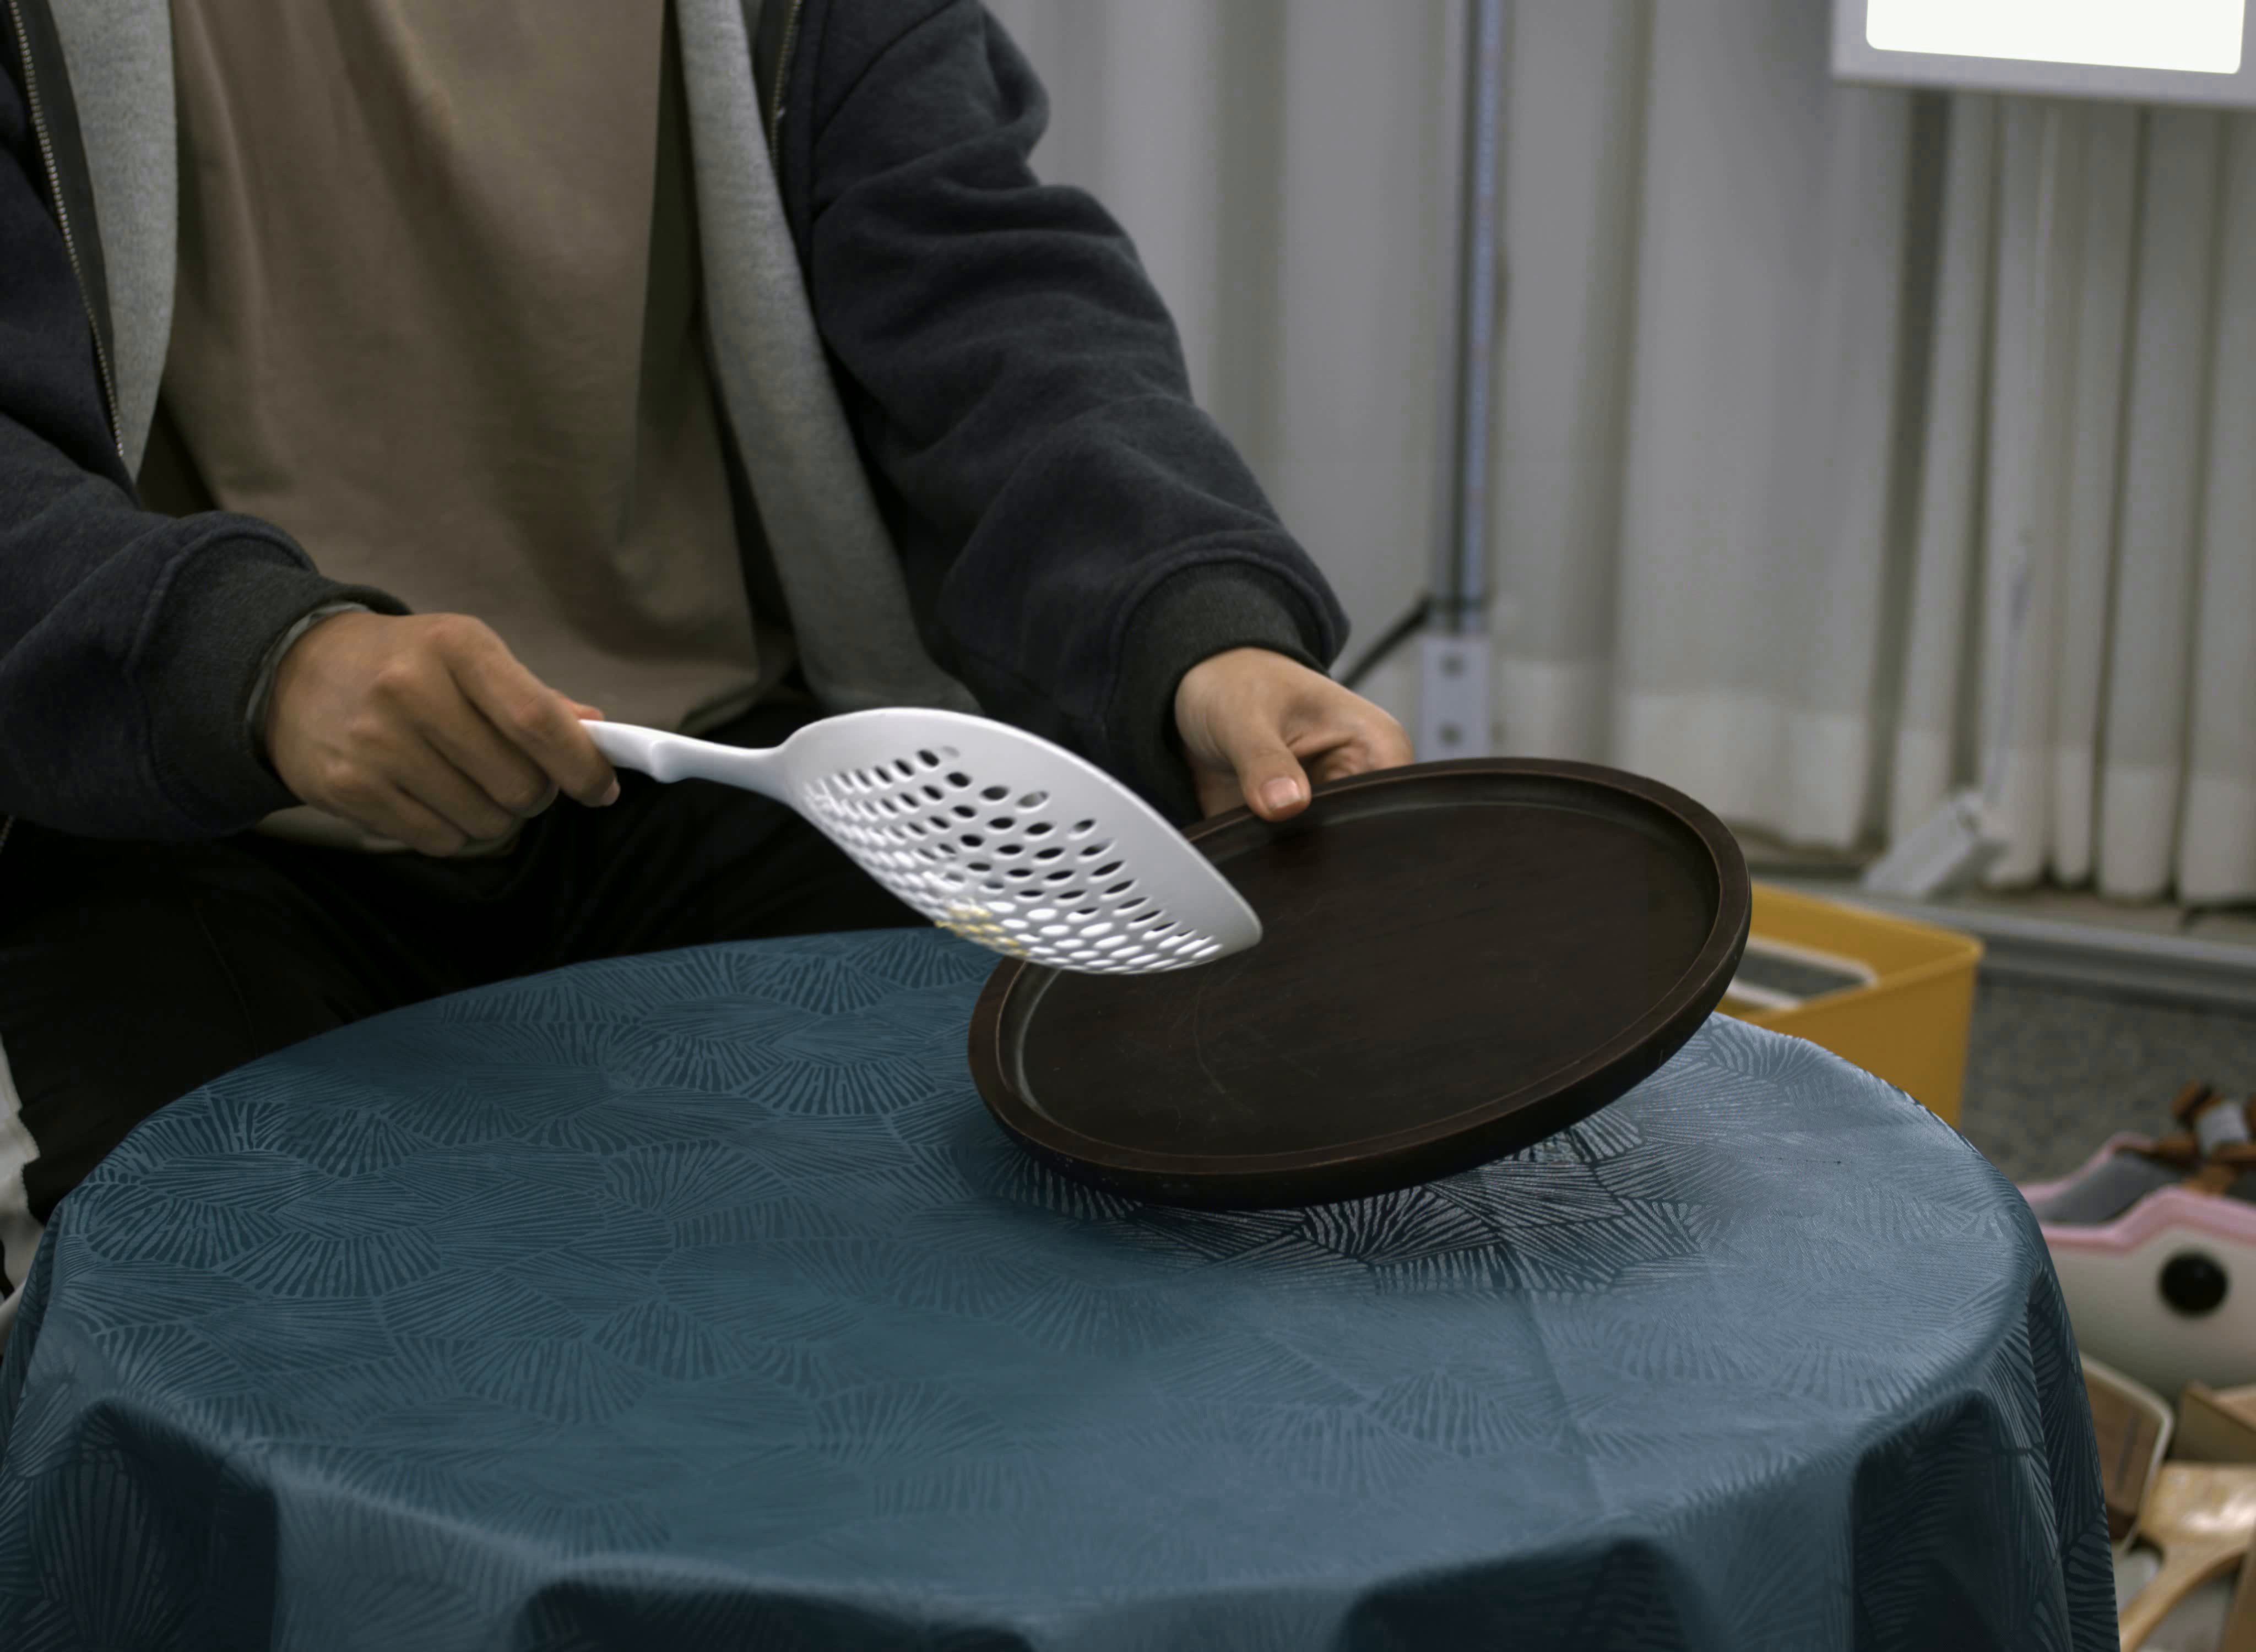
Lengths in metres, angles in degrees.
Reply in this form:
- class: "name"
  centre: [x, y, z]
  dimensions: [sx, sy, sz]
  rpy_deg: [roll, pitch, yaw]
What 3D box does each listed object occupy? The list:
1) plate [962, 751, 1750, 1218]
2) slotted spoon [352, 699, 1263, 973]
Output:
- class: "plate"
  centre: [0.072, 0.050, 1.655]
  dimensions: [0.253, 0.029, 0.253]
  rpy_deg: [-13, 27, 7]
- class: "slotted spoon"
  centre: [-0.110, -0.007, 1.614]
  dimensions: [0.343, 0.050, 0.139]
  rpy_deg: [16, -19, 41]
